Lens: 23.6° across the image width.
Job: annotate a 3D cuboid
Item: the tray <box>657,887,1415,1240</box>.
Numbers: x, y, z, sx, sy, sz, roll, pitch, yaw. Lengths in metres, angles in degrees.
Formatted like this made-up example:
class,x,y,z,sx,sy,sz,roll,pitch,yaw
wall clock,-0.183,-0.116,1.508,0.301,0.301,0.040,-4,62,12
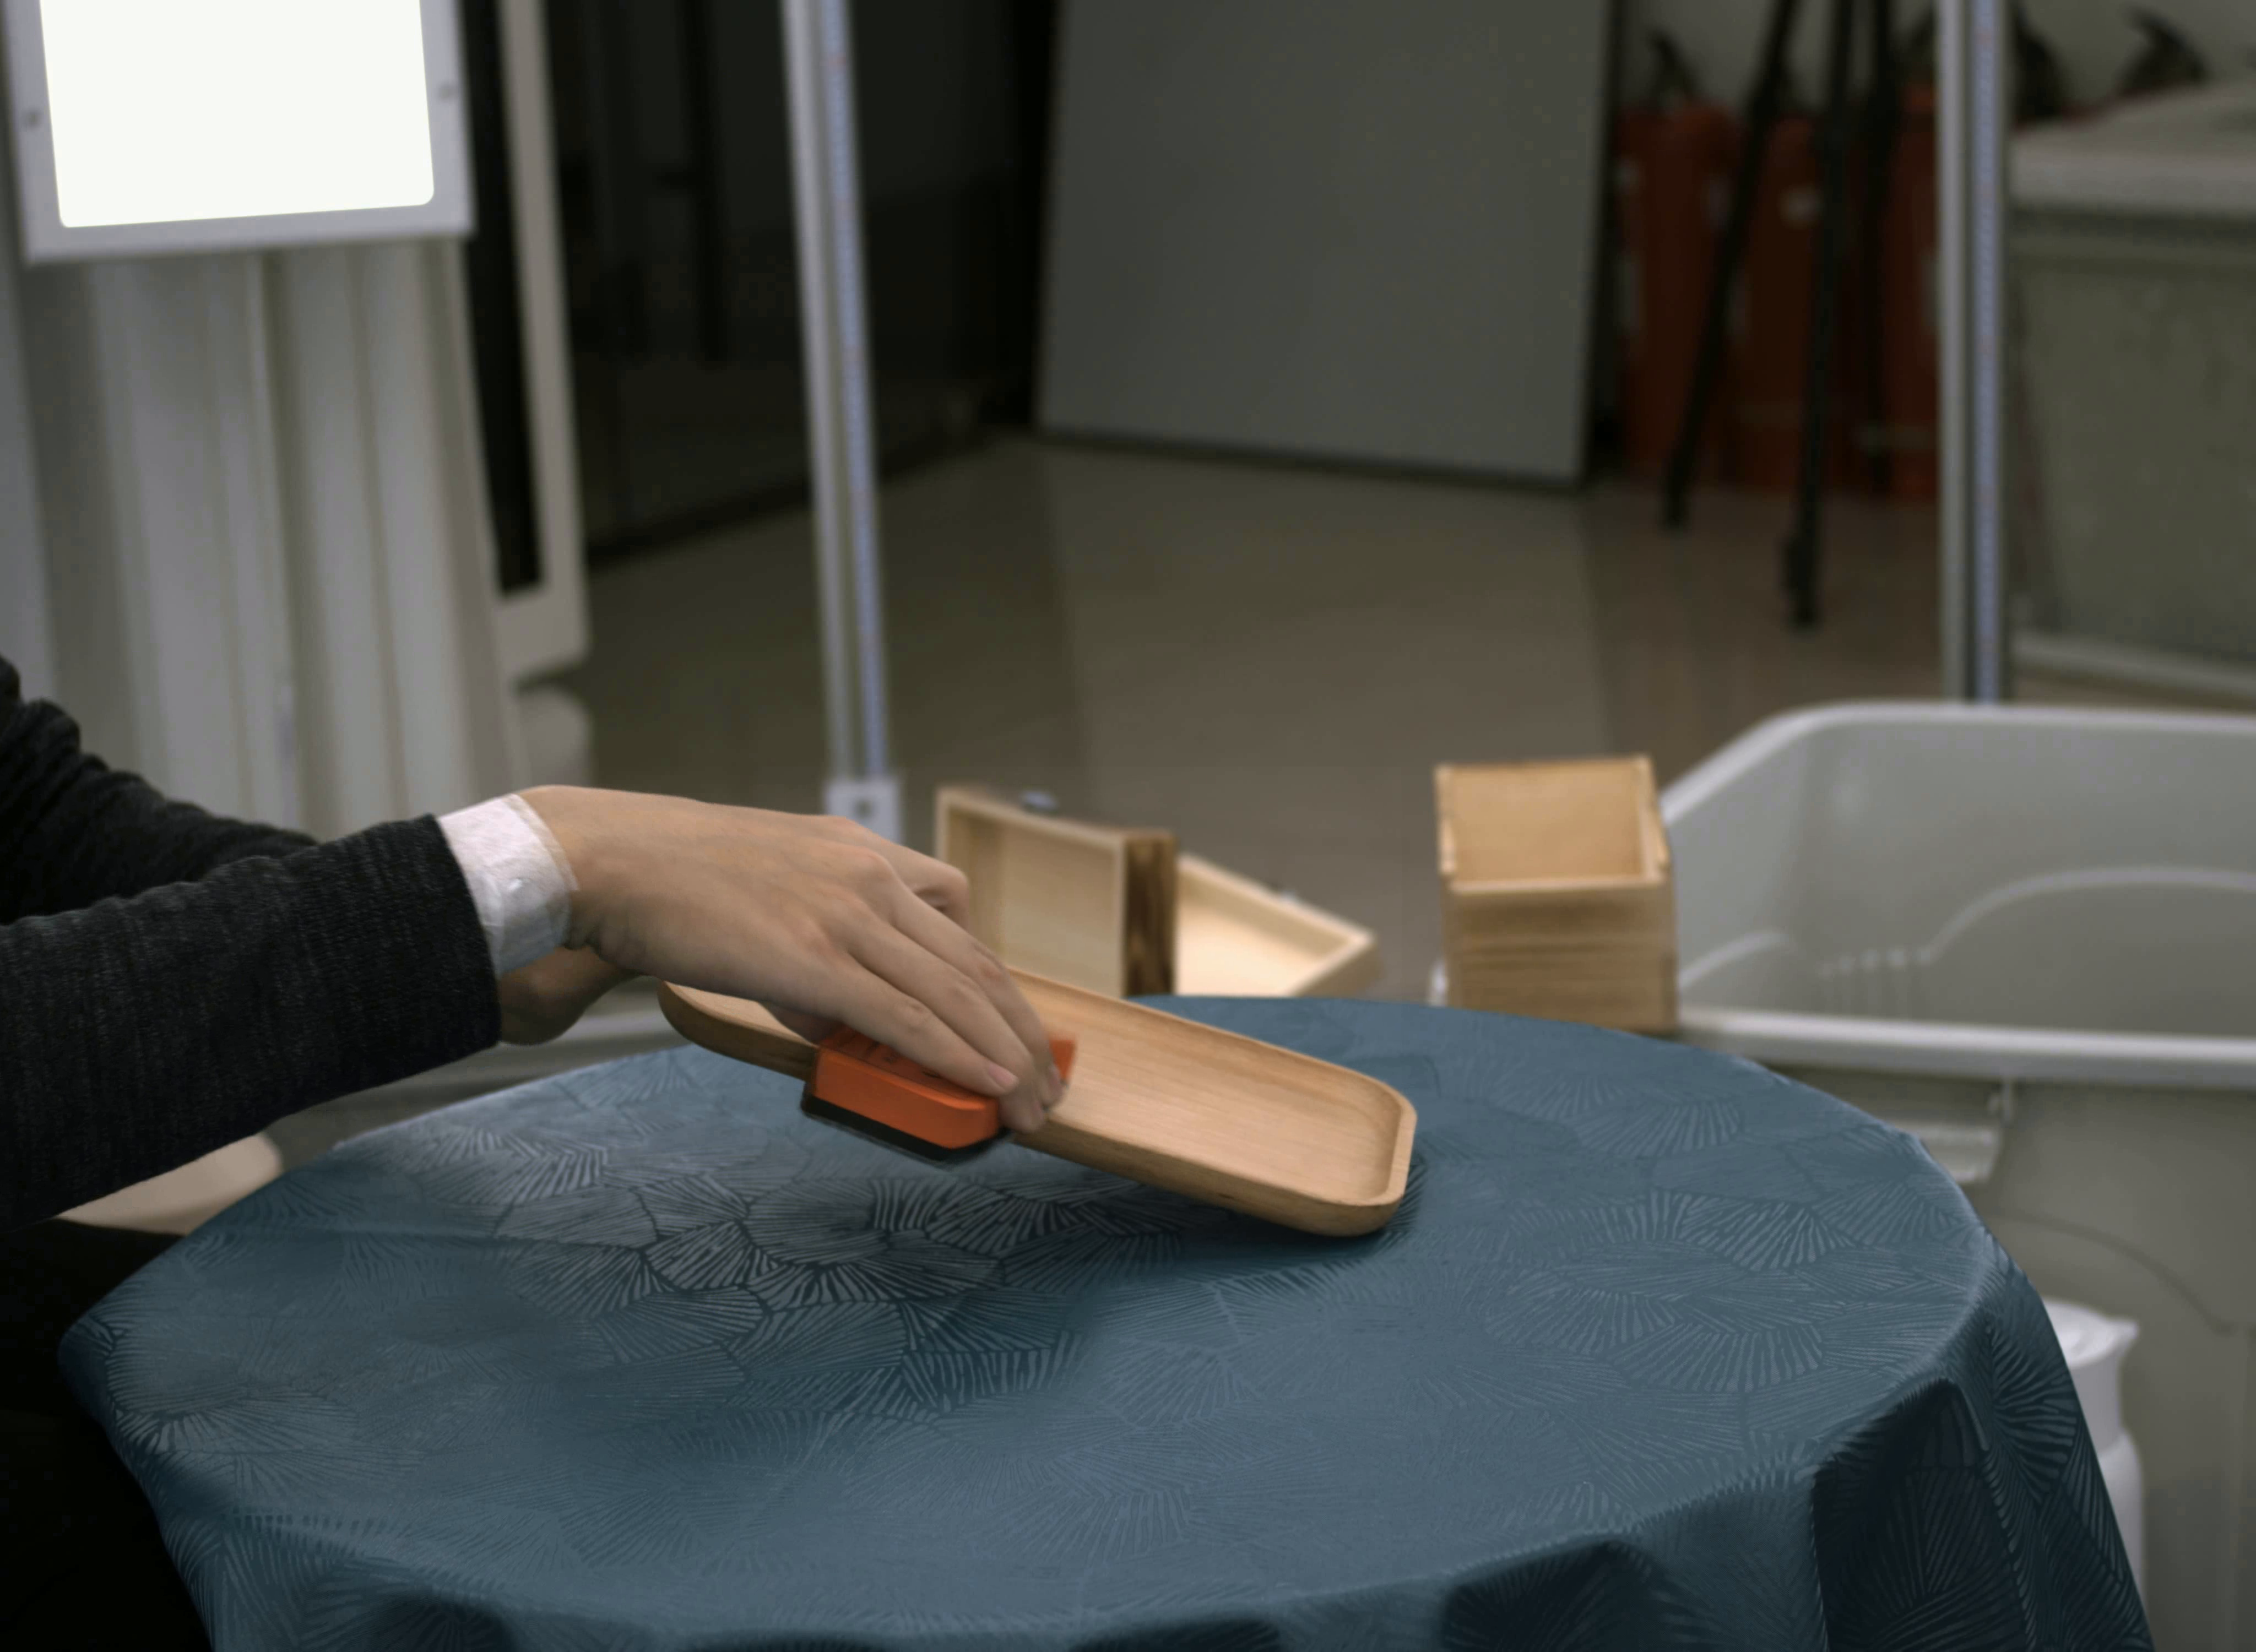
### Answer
class,x,y,z,sx,sy,sz,roll,pitch,yaw
tray,-0.029,0.077,1.756,0.248,0.023,0.130,17,15,4

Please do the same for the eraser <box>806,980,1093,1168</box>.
class,x,y,z,sx,sy,sz,roll,pitch,yaw
eraser,-0.054,0.076,1.676,0.059,0.023,0.107,17,16,18
